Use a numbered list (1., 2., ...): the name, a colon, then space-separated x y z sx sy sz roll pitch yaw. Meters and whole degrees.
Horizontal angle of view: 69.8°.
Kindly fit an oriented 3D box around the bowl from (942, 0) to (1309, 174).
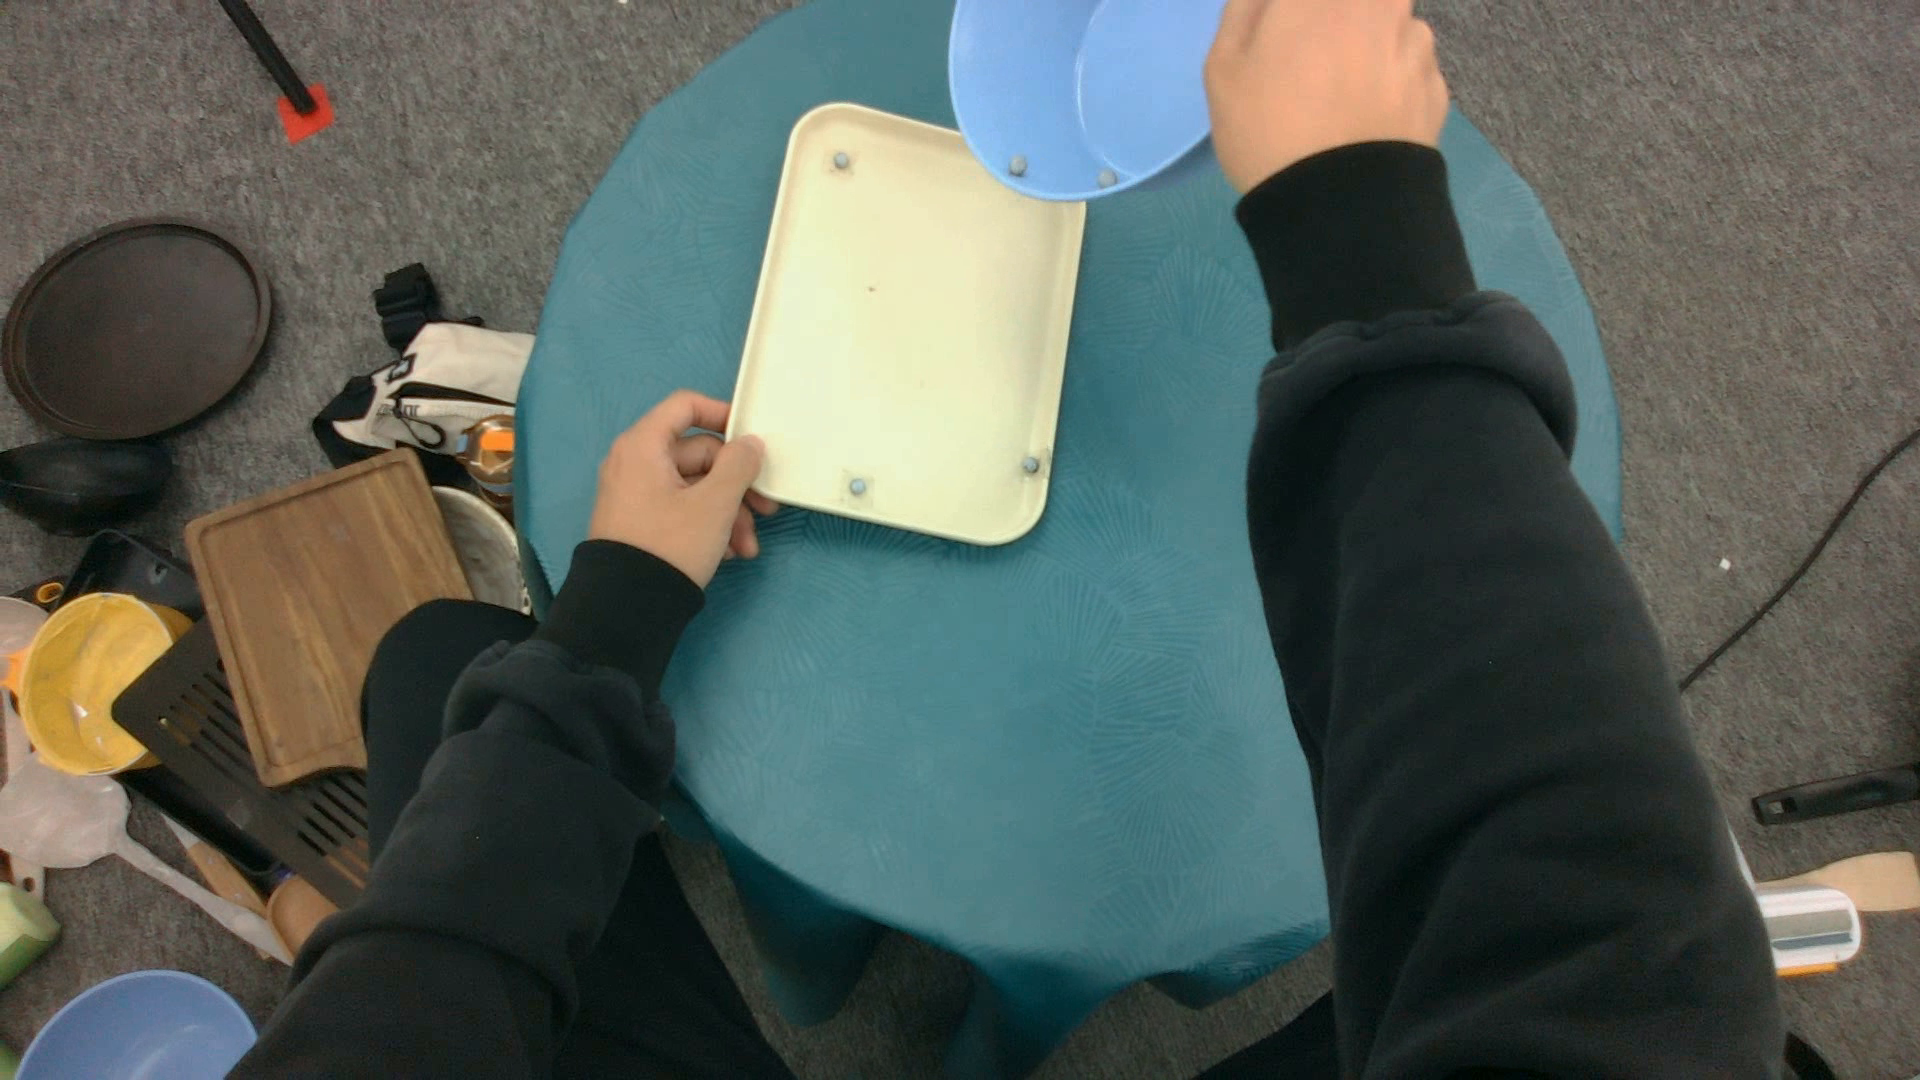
1. bowl: 0.082 -0.231 0.598 0.175 0.070 0.176 -8 75 33

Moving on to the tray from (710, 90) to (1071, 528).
1. tray: -0.033 -0.127 0.745 0.171 0.017 0.240 12 71 -8
